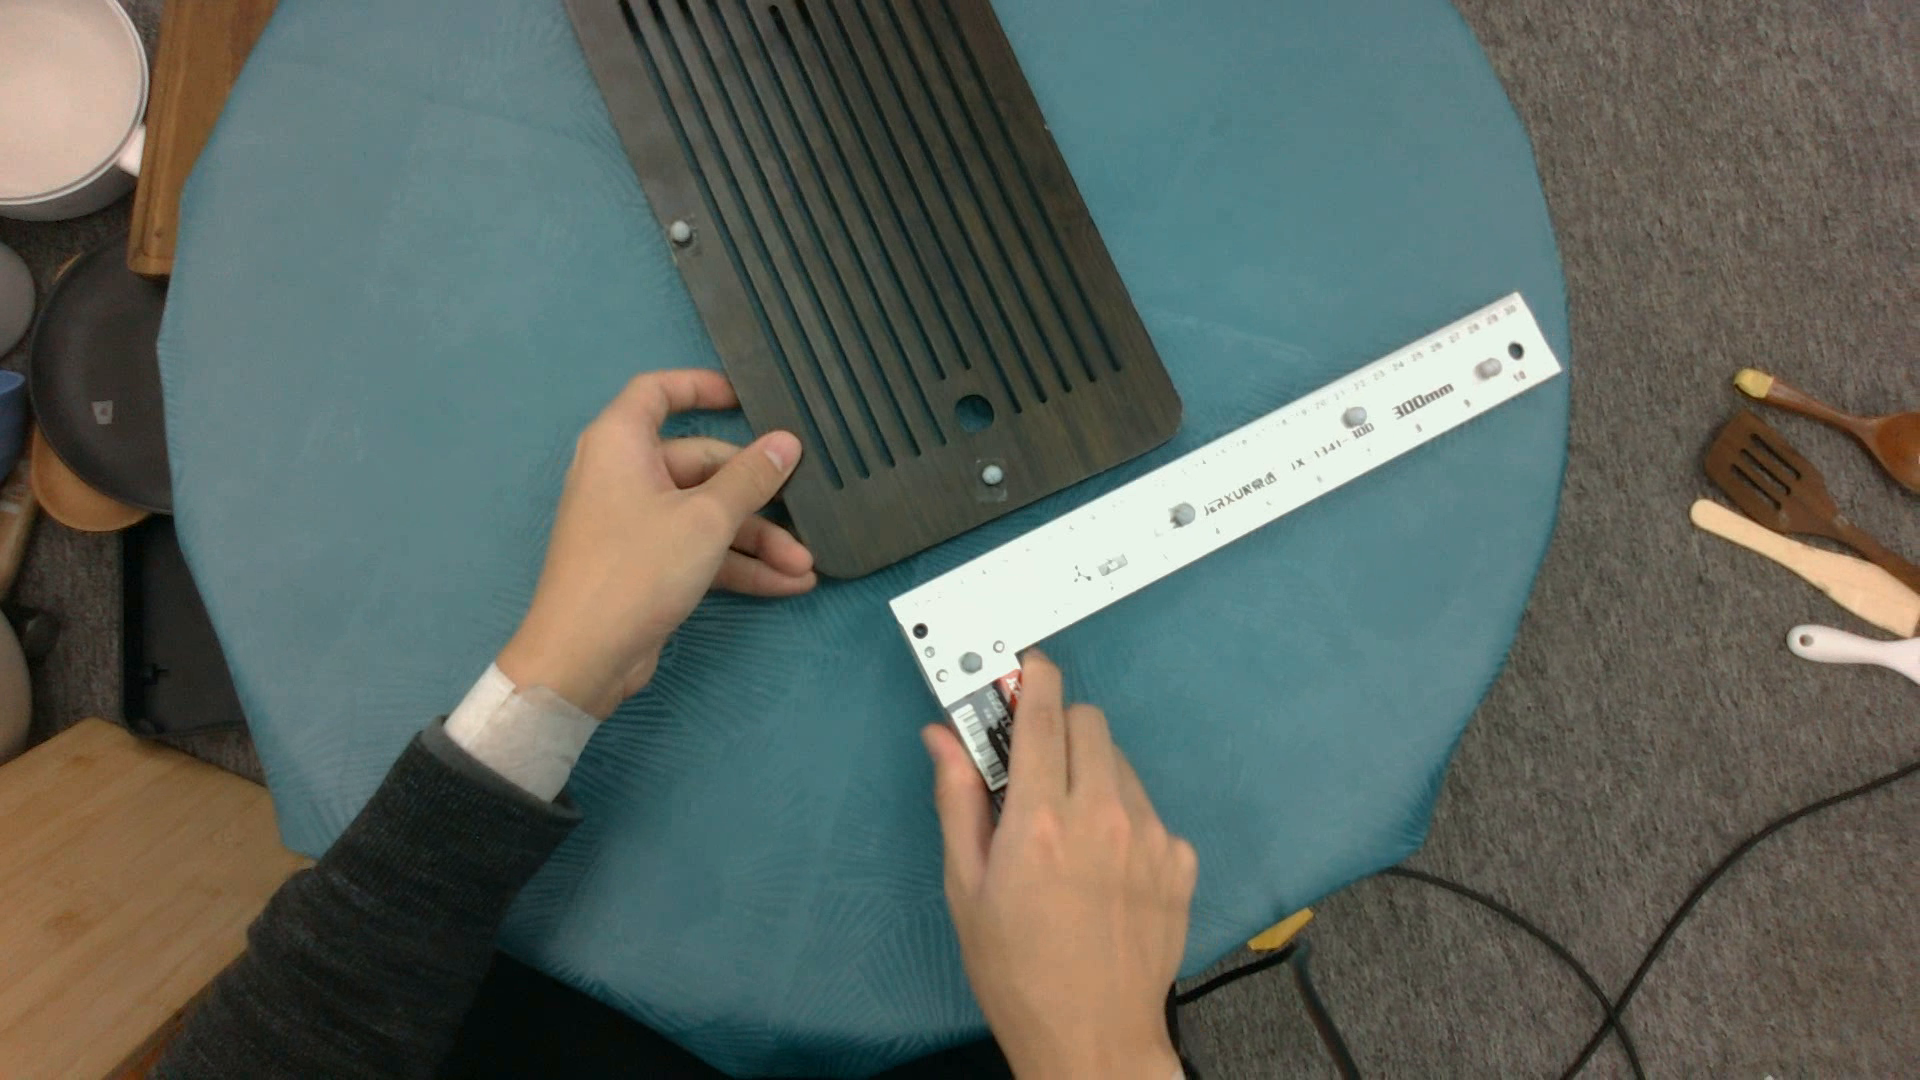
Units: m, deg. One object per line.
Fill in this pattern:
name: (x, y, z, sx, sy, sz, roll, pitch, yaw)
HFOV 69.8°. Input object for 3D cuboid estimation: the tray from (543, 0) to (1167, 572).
tray: (-0.050, -0.152, 0.587, 0.170, 0.018, 0.306, -24, 83, -9)

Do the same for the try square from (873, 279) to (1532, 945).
try square: (0.132, 0.019, 0.563, 0.313, 0.016, 0.152, -26, 87, -15)
